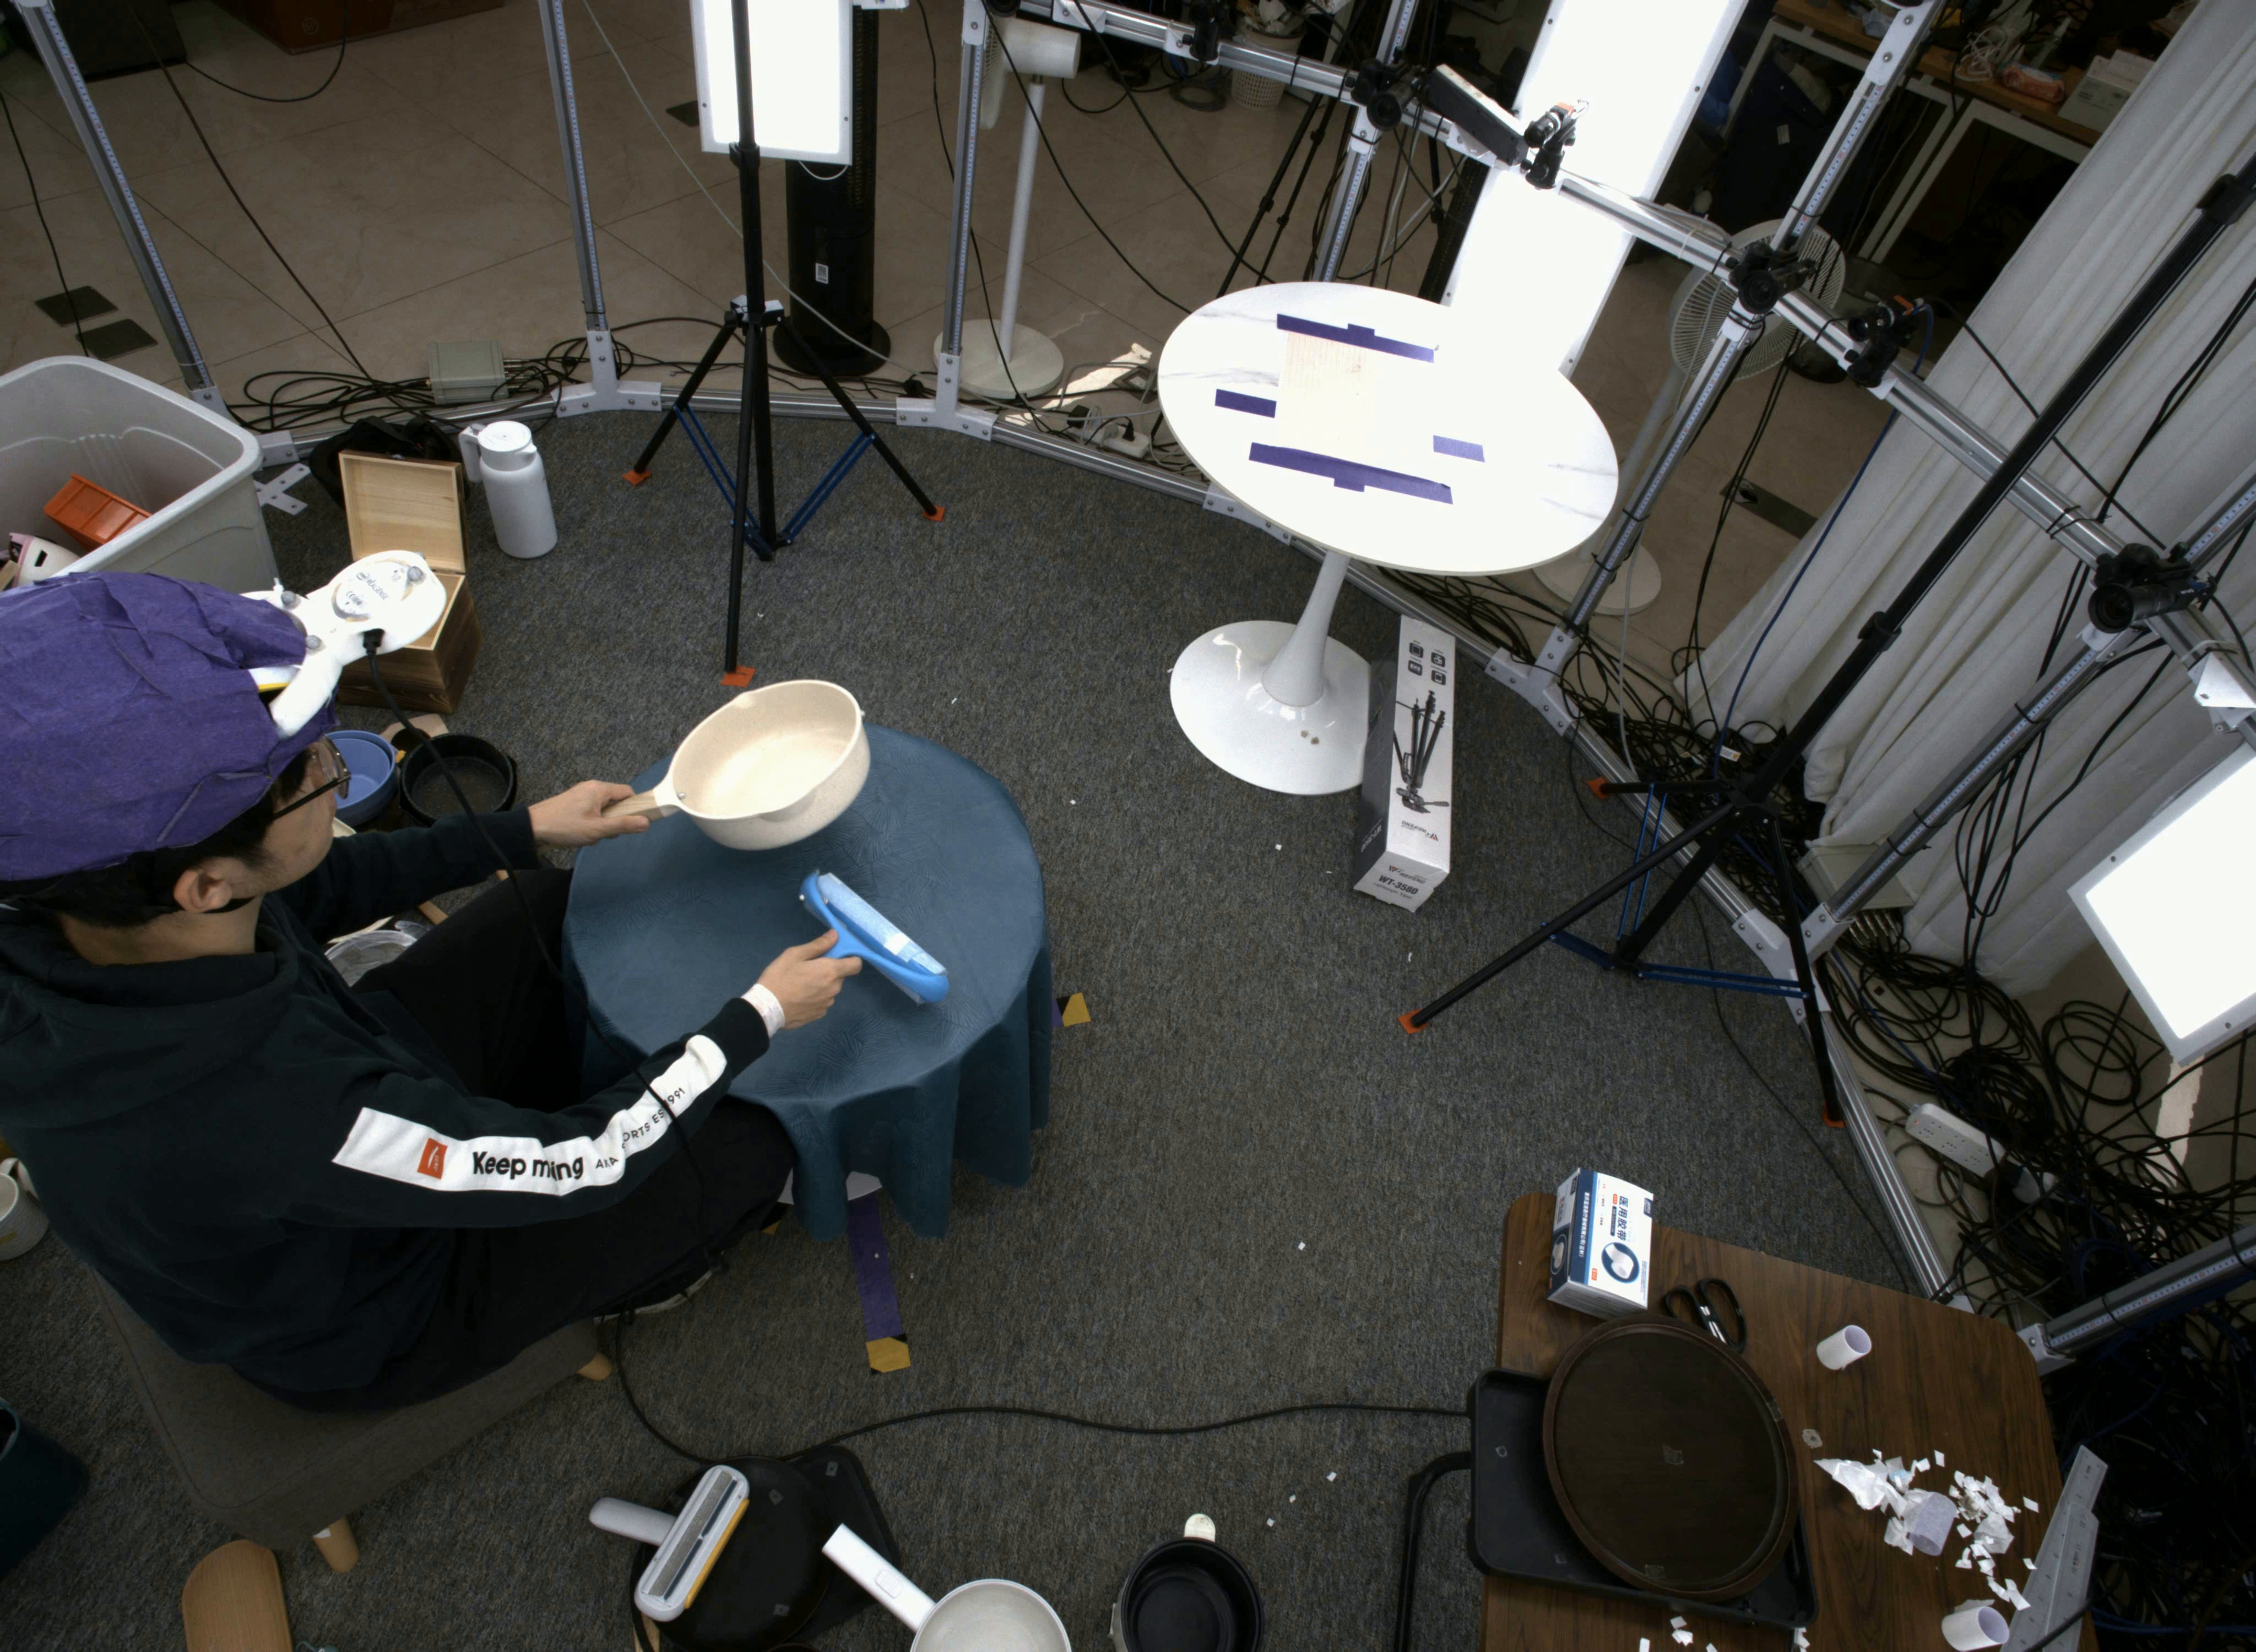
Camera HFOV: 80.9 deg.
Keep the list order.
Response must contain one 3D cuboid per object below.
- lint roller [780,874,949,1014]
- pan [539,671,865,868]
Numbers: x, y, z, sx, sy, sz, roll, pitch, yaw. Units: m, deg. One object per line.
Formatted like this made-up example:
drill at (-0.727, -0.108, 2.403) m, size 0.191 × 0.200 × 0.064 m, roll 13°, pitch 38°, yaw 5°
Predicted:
lint roller at (-0.338, 0.156, 1.541) m, size 0.226 × 0.069 × 0.180 m, roll 37°, pitch 37°, yaw 9°
pan at (-0.524, -0.039, 1.586) m, size 0.434 × 0.106 × 0.254 m, roll -29°, pitch 46°, yaw -10°
